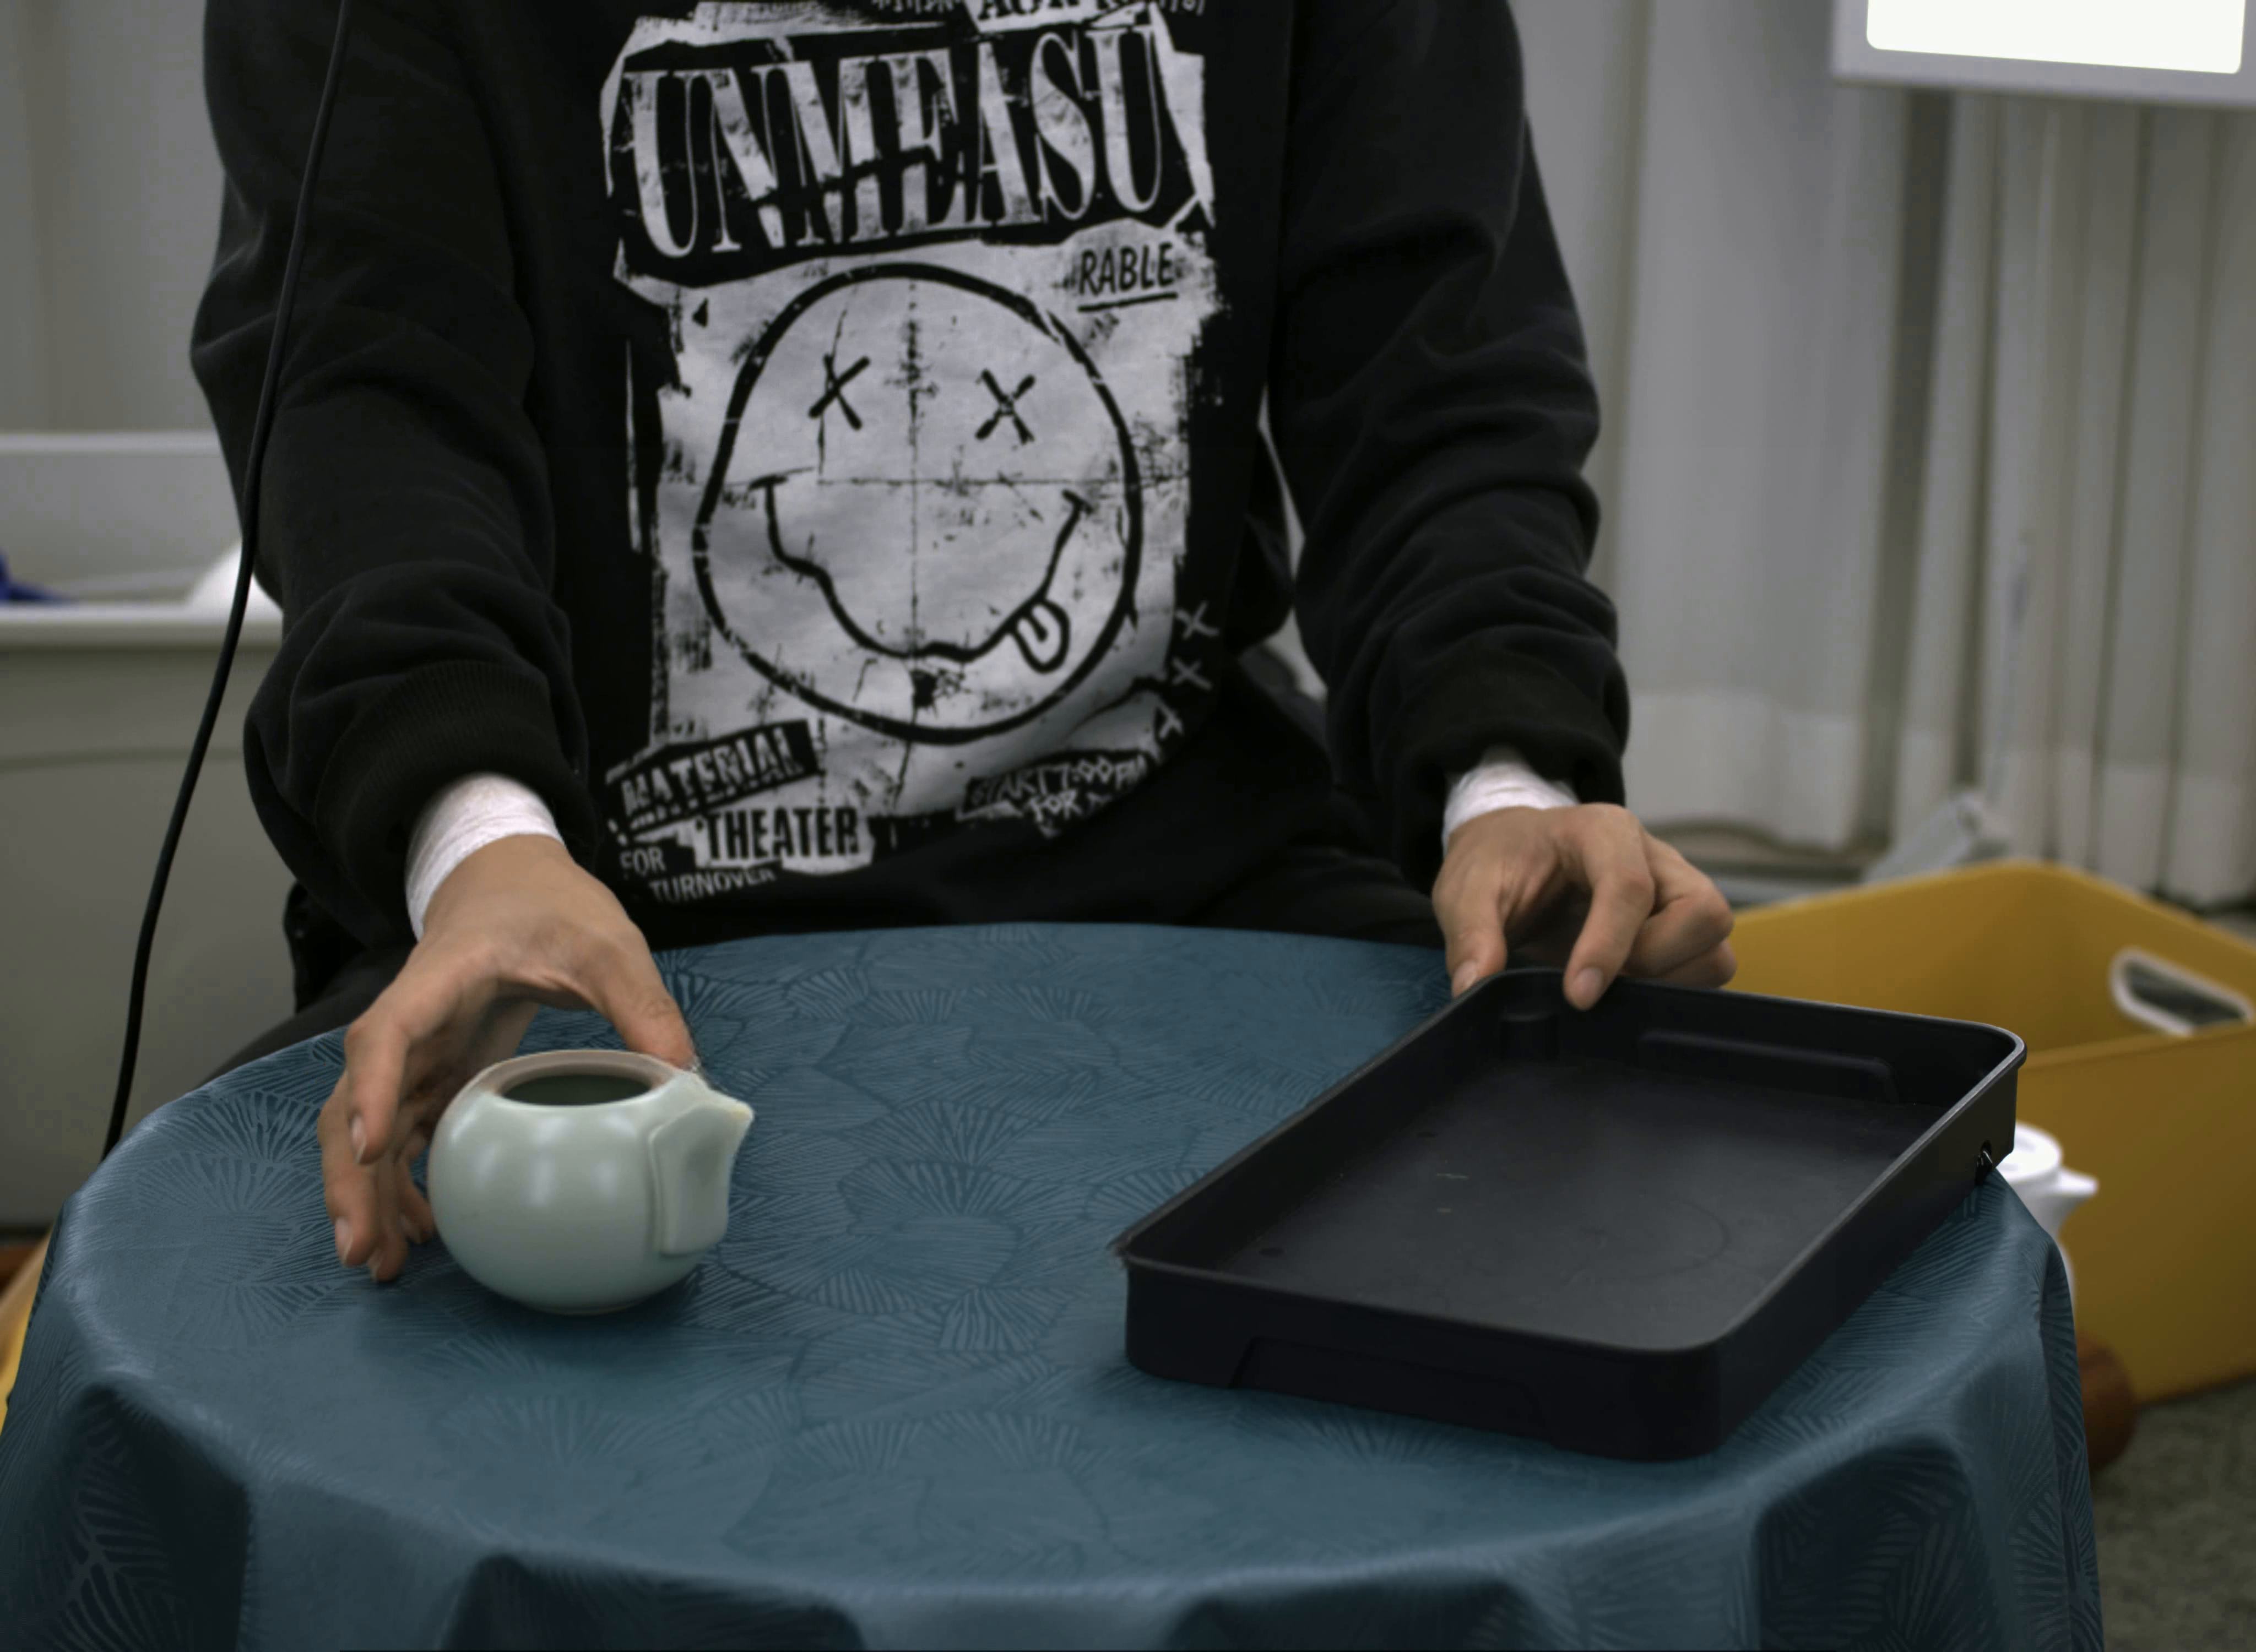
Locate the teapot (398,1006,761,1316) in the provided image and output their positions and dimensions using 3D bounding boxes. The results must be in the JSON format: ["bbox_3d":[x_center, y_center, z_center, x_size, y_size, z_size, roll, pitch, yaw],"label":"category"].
[{"bbox_3d":[-0.159,0.100,1.524,0.142,0.075,0.089,16,22,39],"label":"teapot"}]

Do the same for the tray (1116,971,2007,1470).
[{"bbox_3d":[0.136,0.110,1.568,0.182,0.037,0.318,7,17,22],"label":"tray"}]
